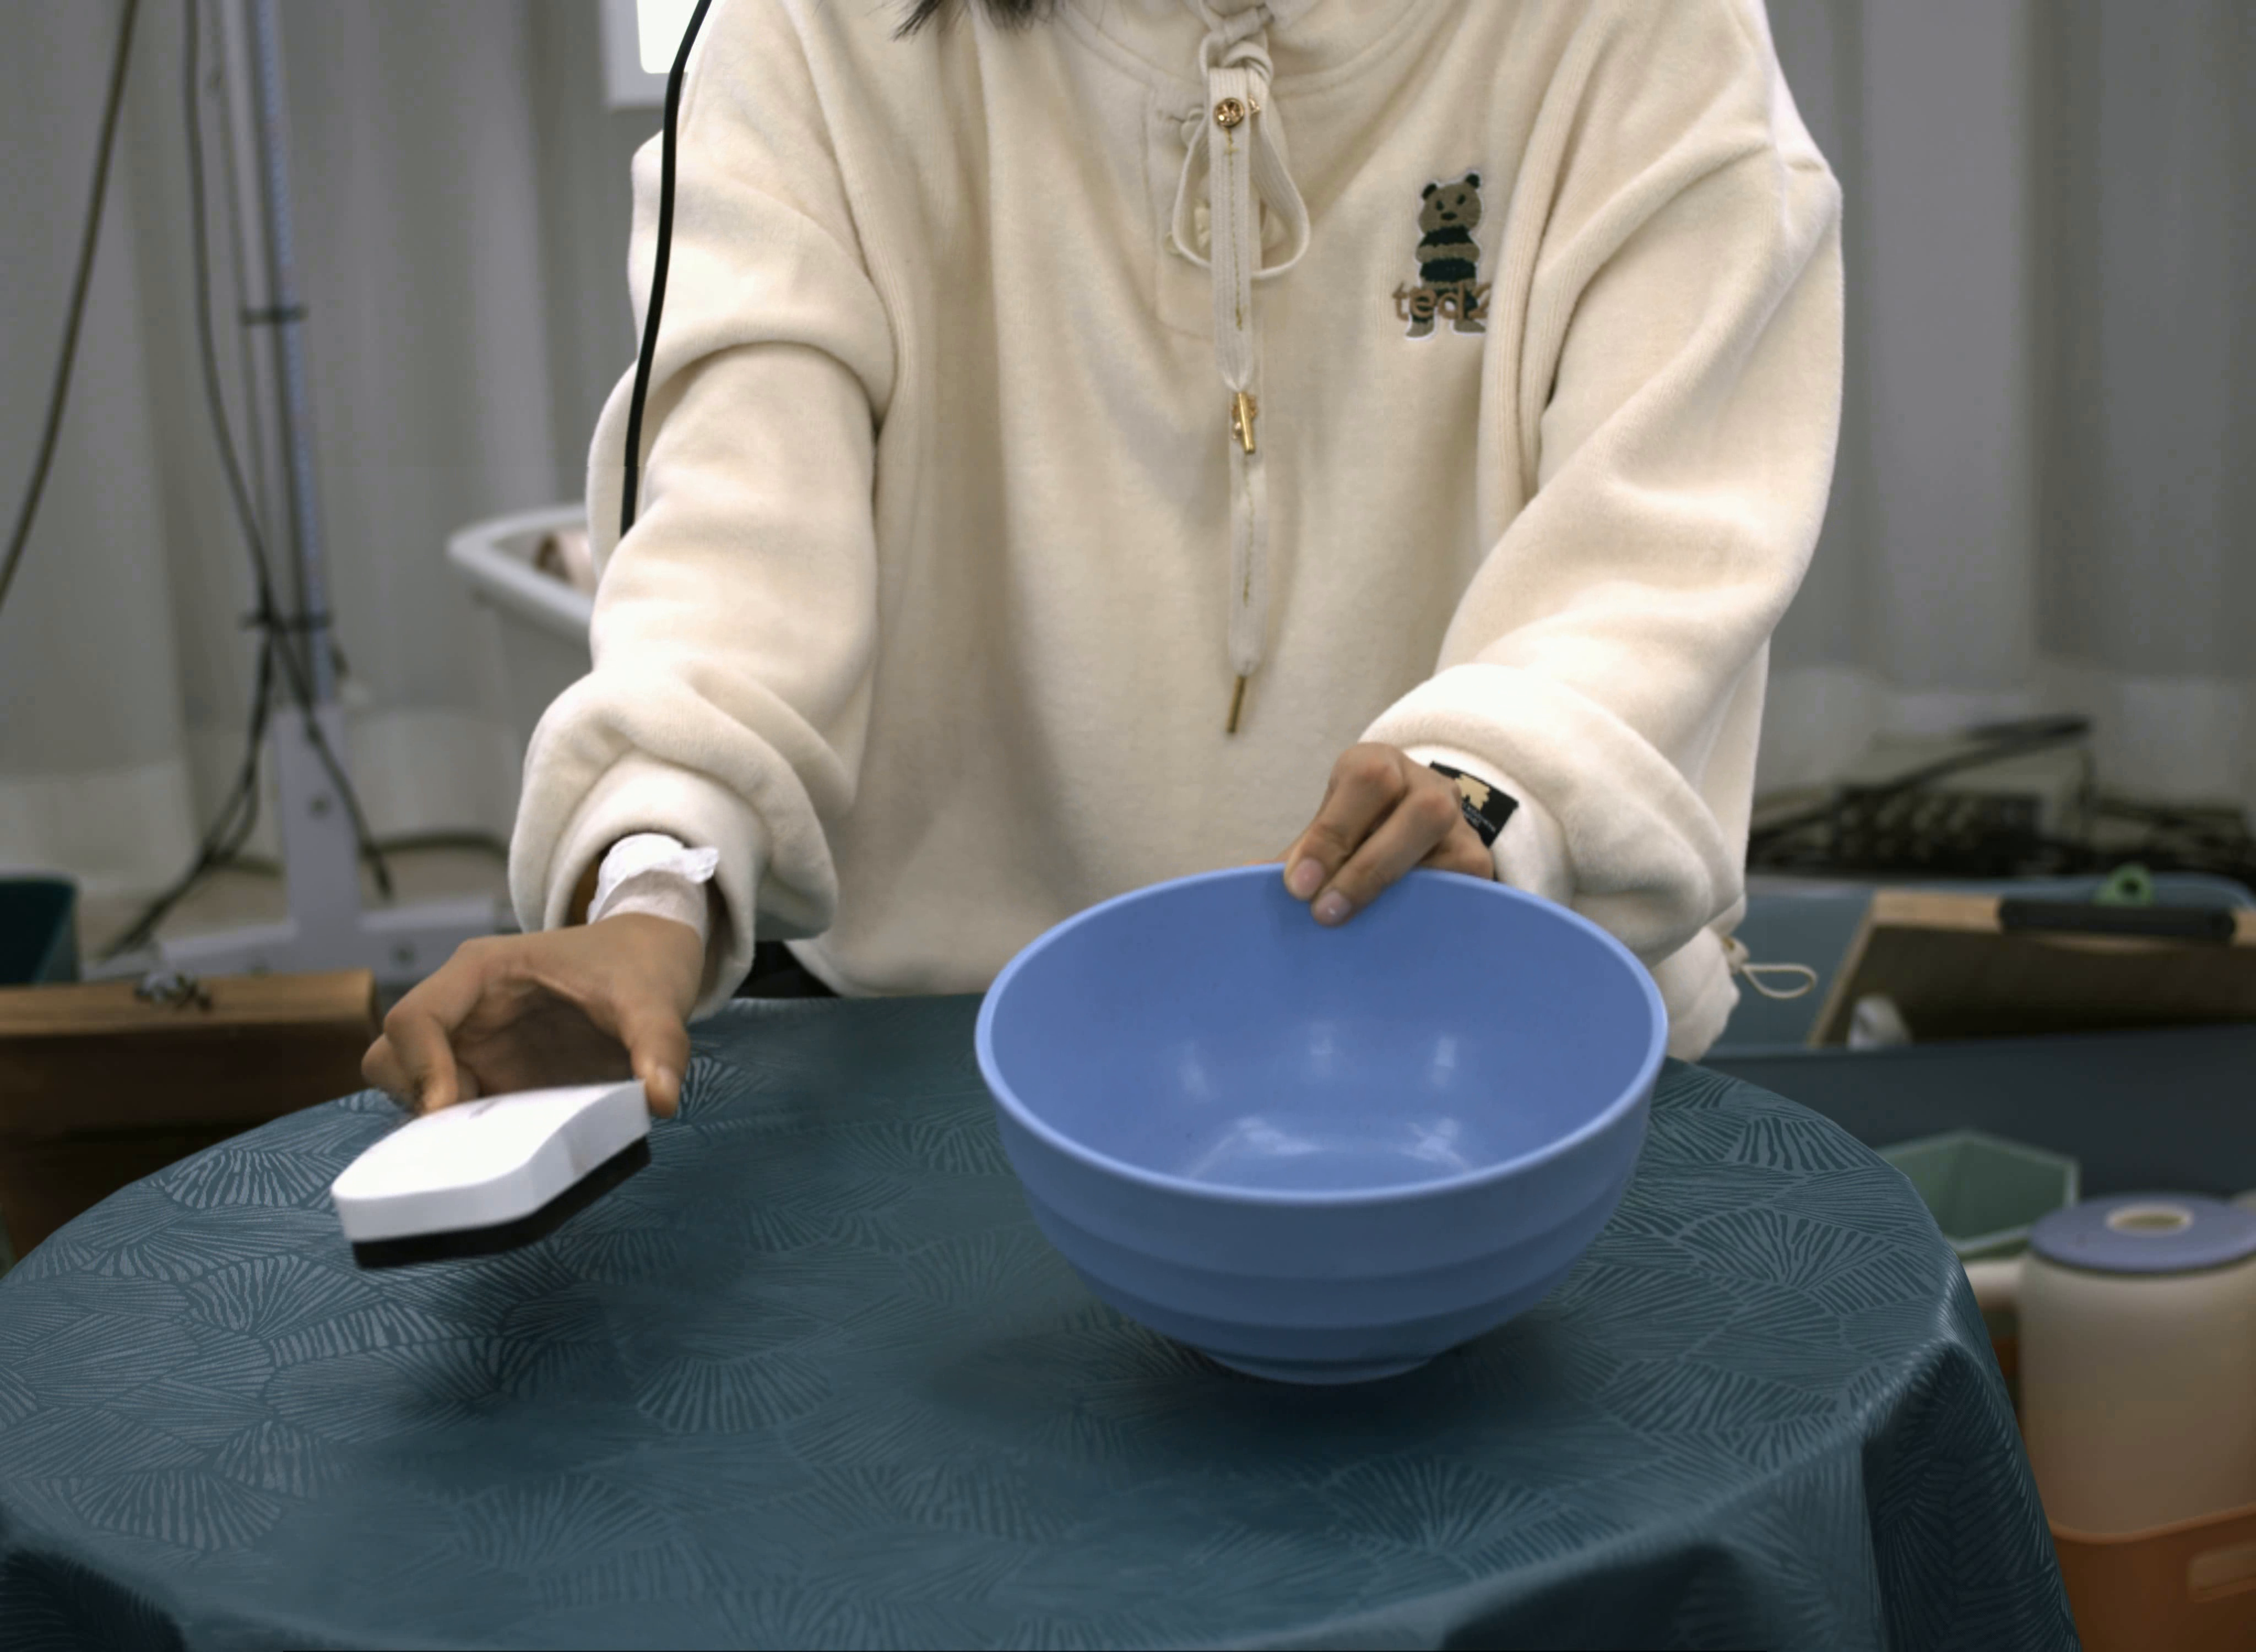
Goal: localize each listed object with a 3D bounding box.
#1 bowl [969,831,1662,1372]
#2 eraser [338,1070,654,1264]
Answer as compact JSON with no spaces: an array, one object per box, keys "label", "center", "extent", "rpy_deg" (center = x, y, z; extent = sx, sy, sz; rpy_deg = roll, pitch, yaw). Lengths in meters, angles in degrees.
[{"label":"bowl","center":[0.056,0.092,1.567],"extent":[0.196,0.094,0.199],"rpy_deg":[-4,31,2]},{"label":"eraser","center":[-0.180,0.096,1.587],"extent":[0.063,0.034,0.131],"rpy_deg":[-8,8,15]}]
